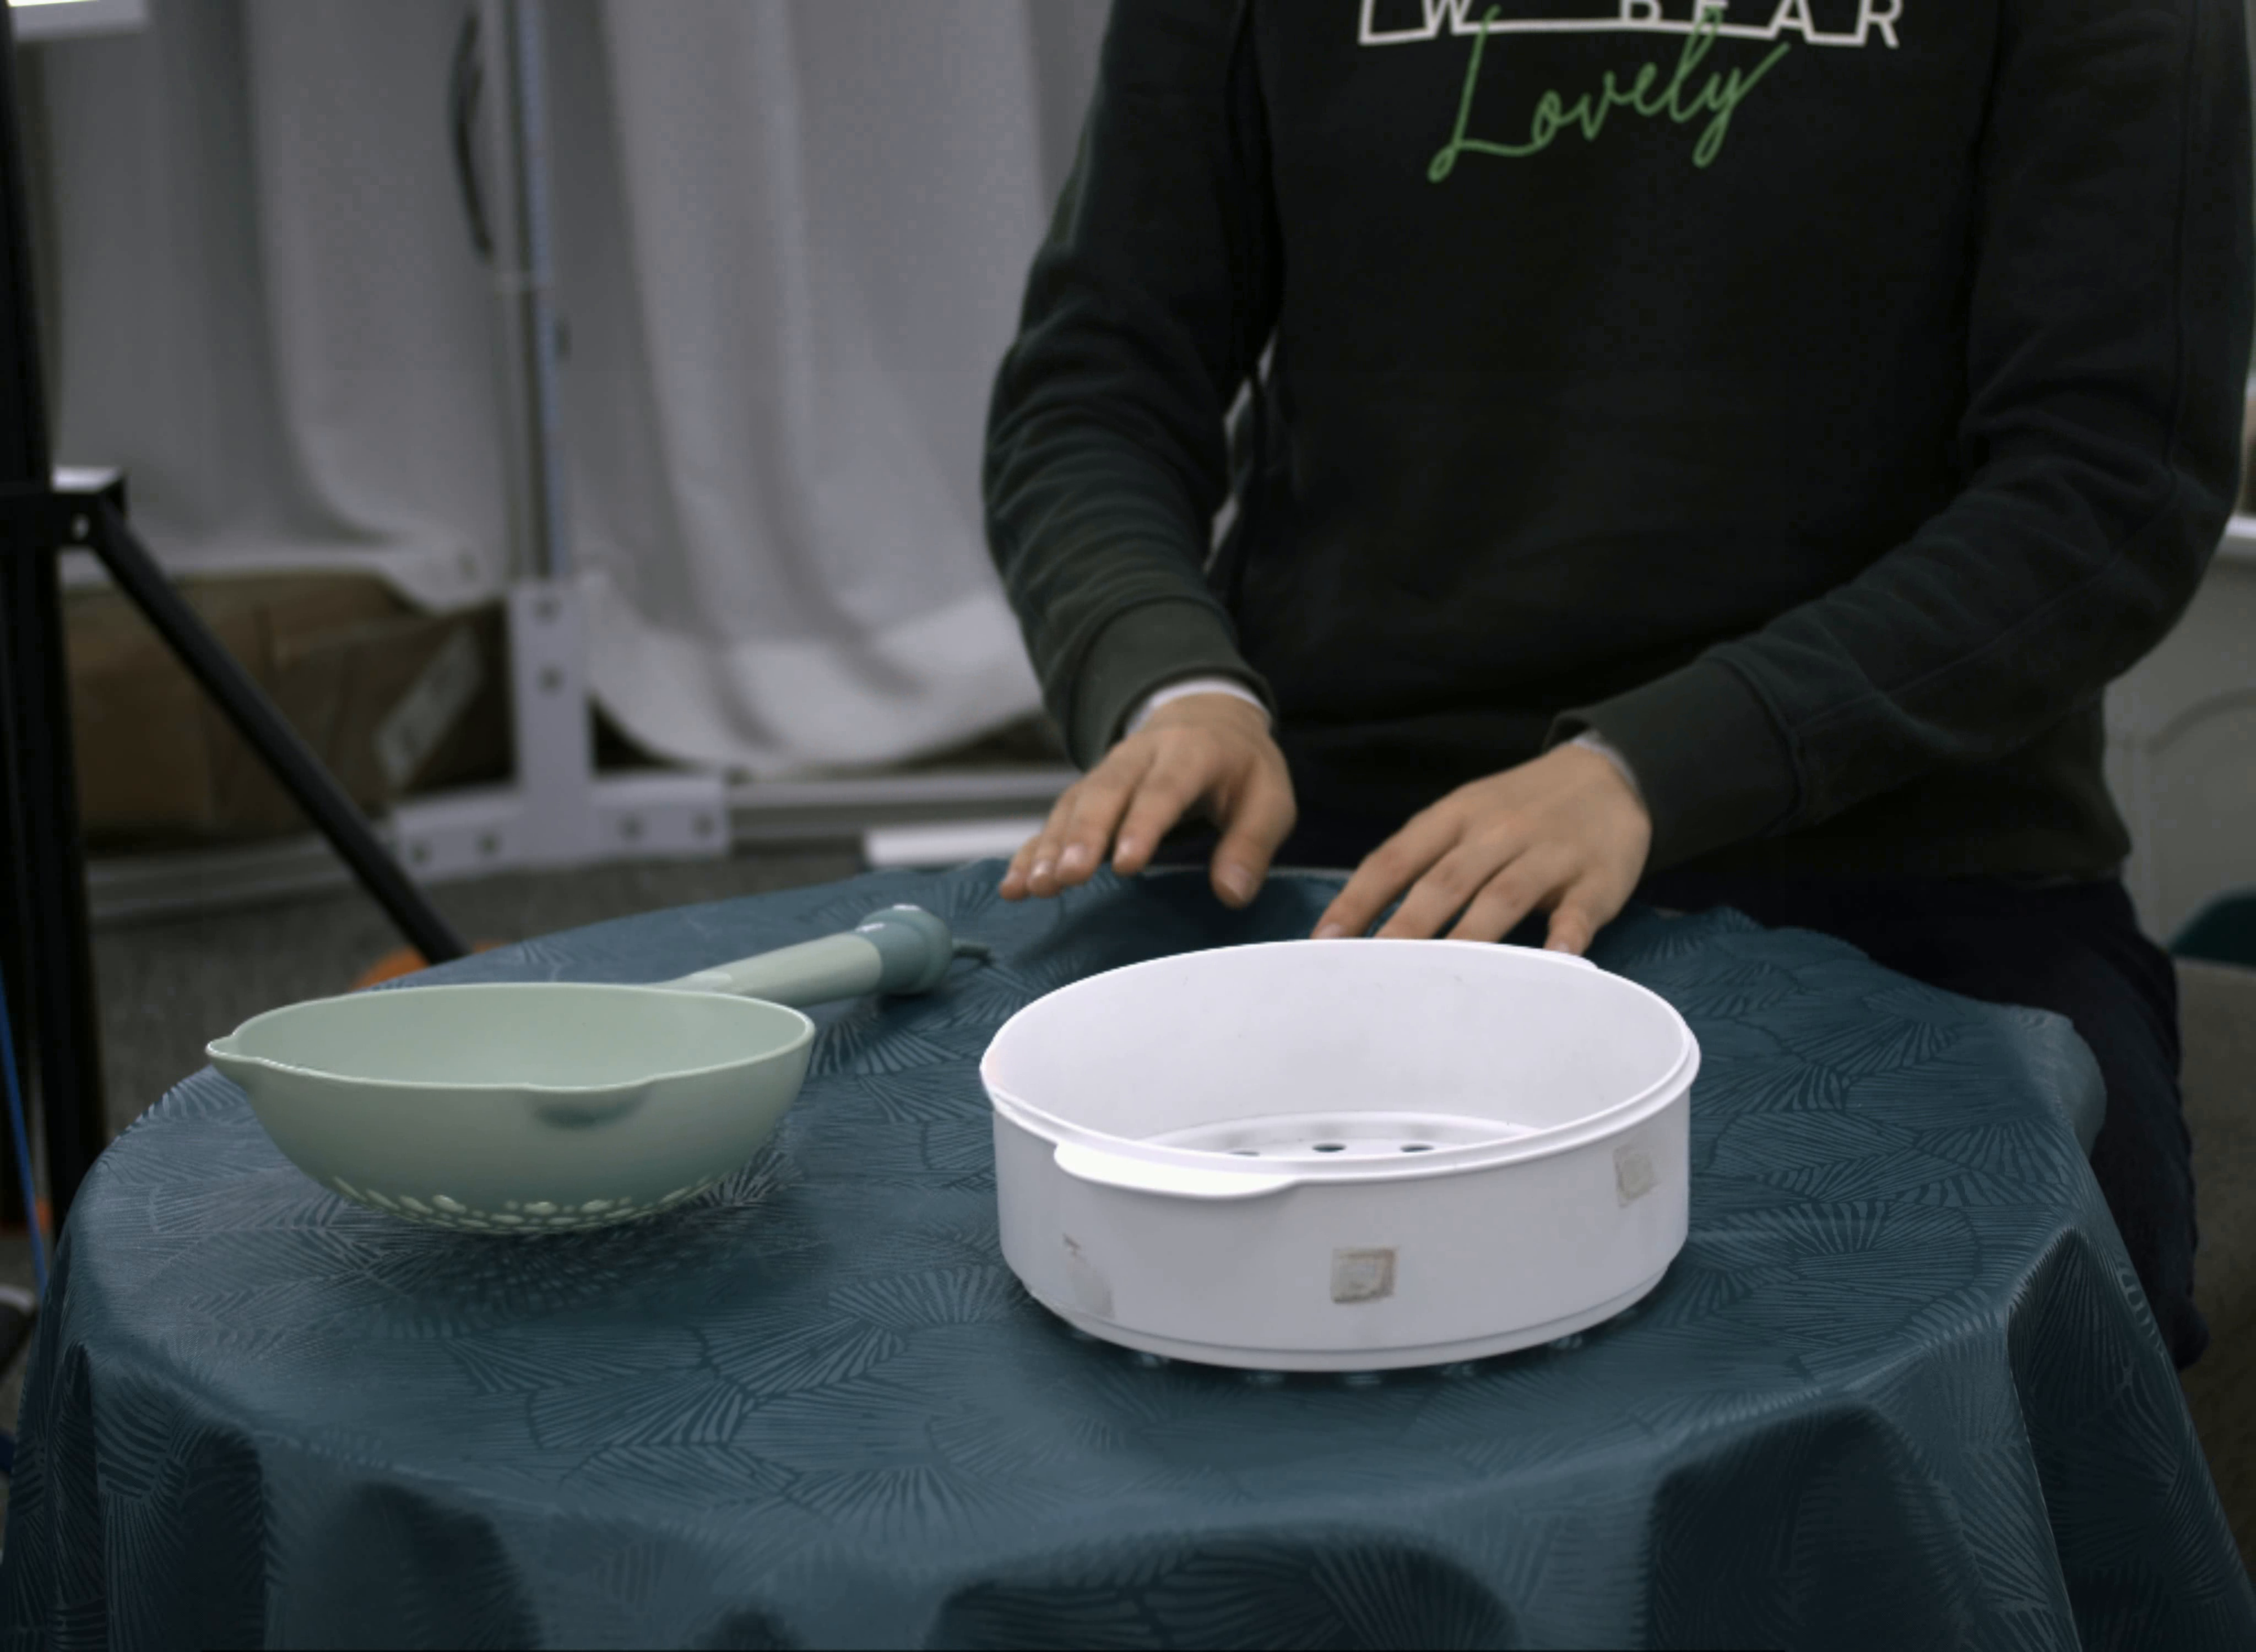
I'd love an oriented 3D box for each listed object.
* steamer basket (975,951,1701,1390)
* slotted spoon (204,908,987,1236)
[{"bbox_3d":[0.058,0.096,1.476,0.205,0.069,0.226,7,18,28],"label":"steamer basket"},{"bbox_3d":[-0.132,0.060,1.632,0.172,0.075,0.353,4,17,26],"label":"slotted spoon"}]
